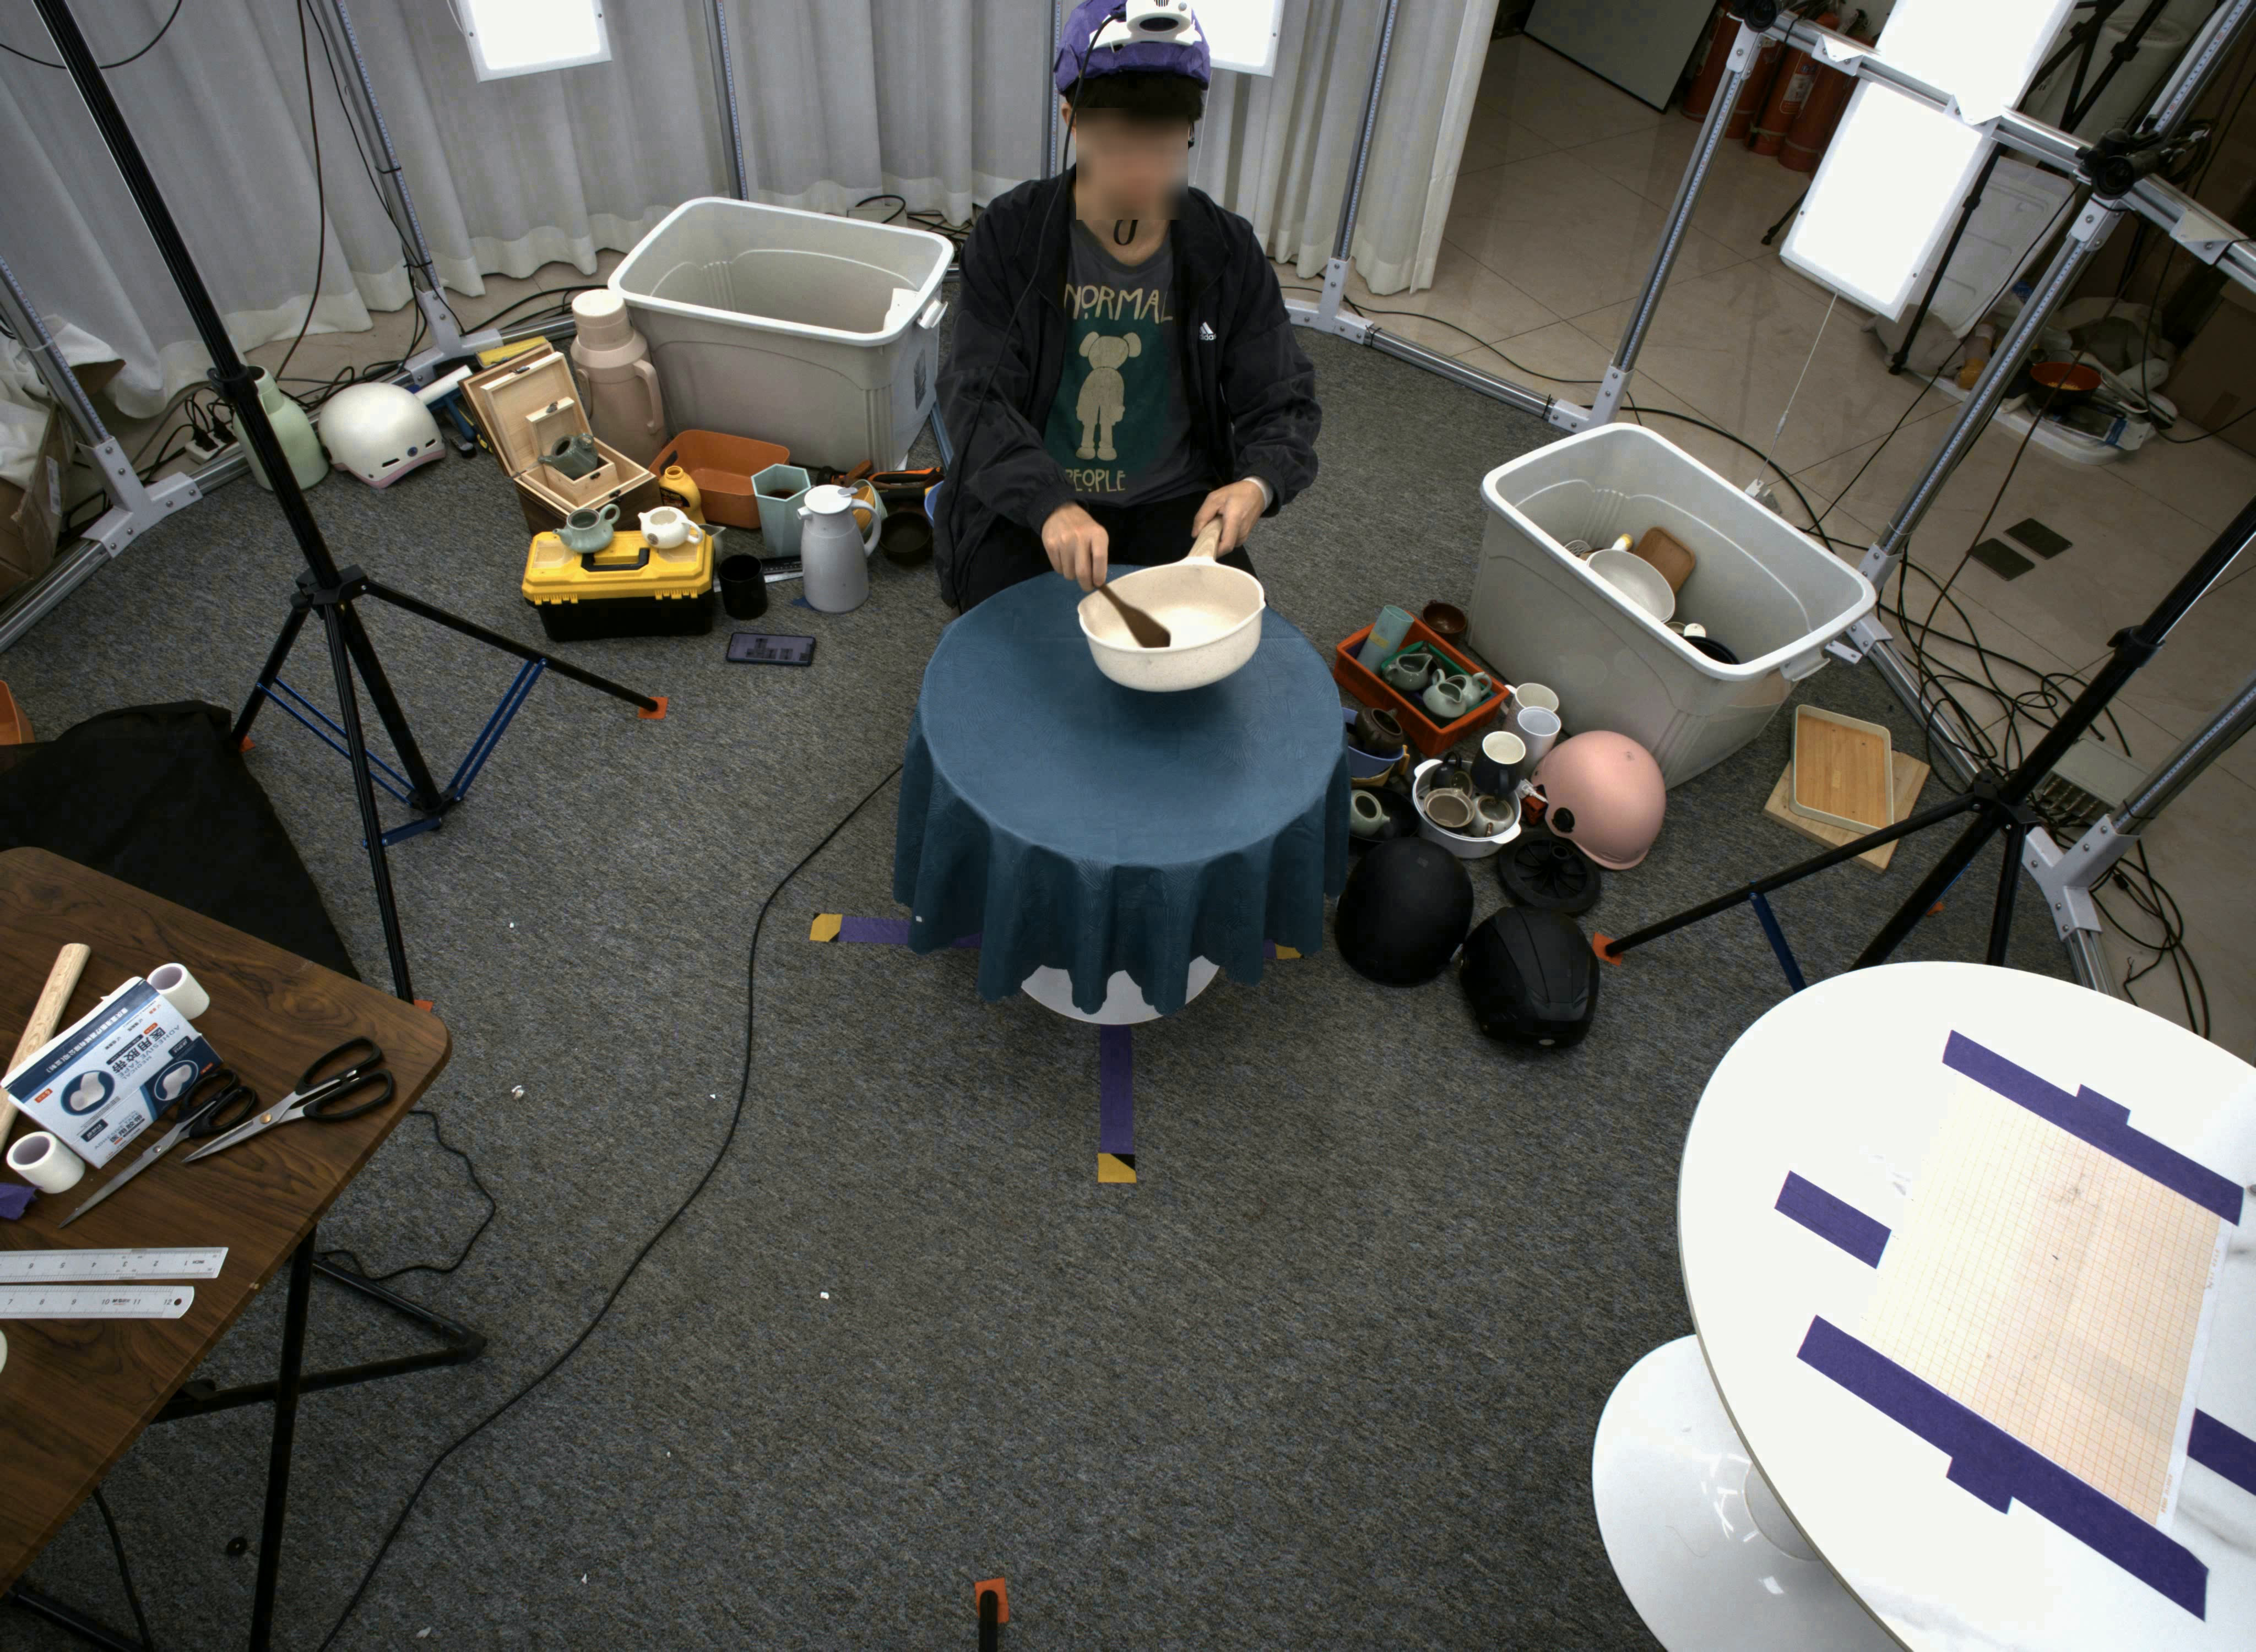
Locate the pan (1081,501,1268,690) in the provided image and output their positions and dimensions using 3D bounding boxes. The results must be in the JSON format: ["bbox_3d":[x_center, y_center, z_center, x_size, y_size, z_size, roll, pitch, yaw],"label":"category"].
[{"bbox_3d":[0.094,-0.330,1.829,0.264,0.100,0.443,2,36,21],"label":"pan"}]

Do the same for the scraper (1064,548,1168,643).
[{"bbox_3d":[-0.020,-0.304,1.747,0.011,0.074,0.214,-34,69,-23],"label":"scraper"}]
